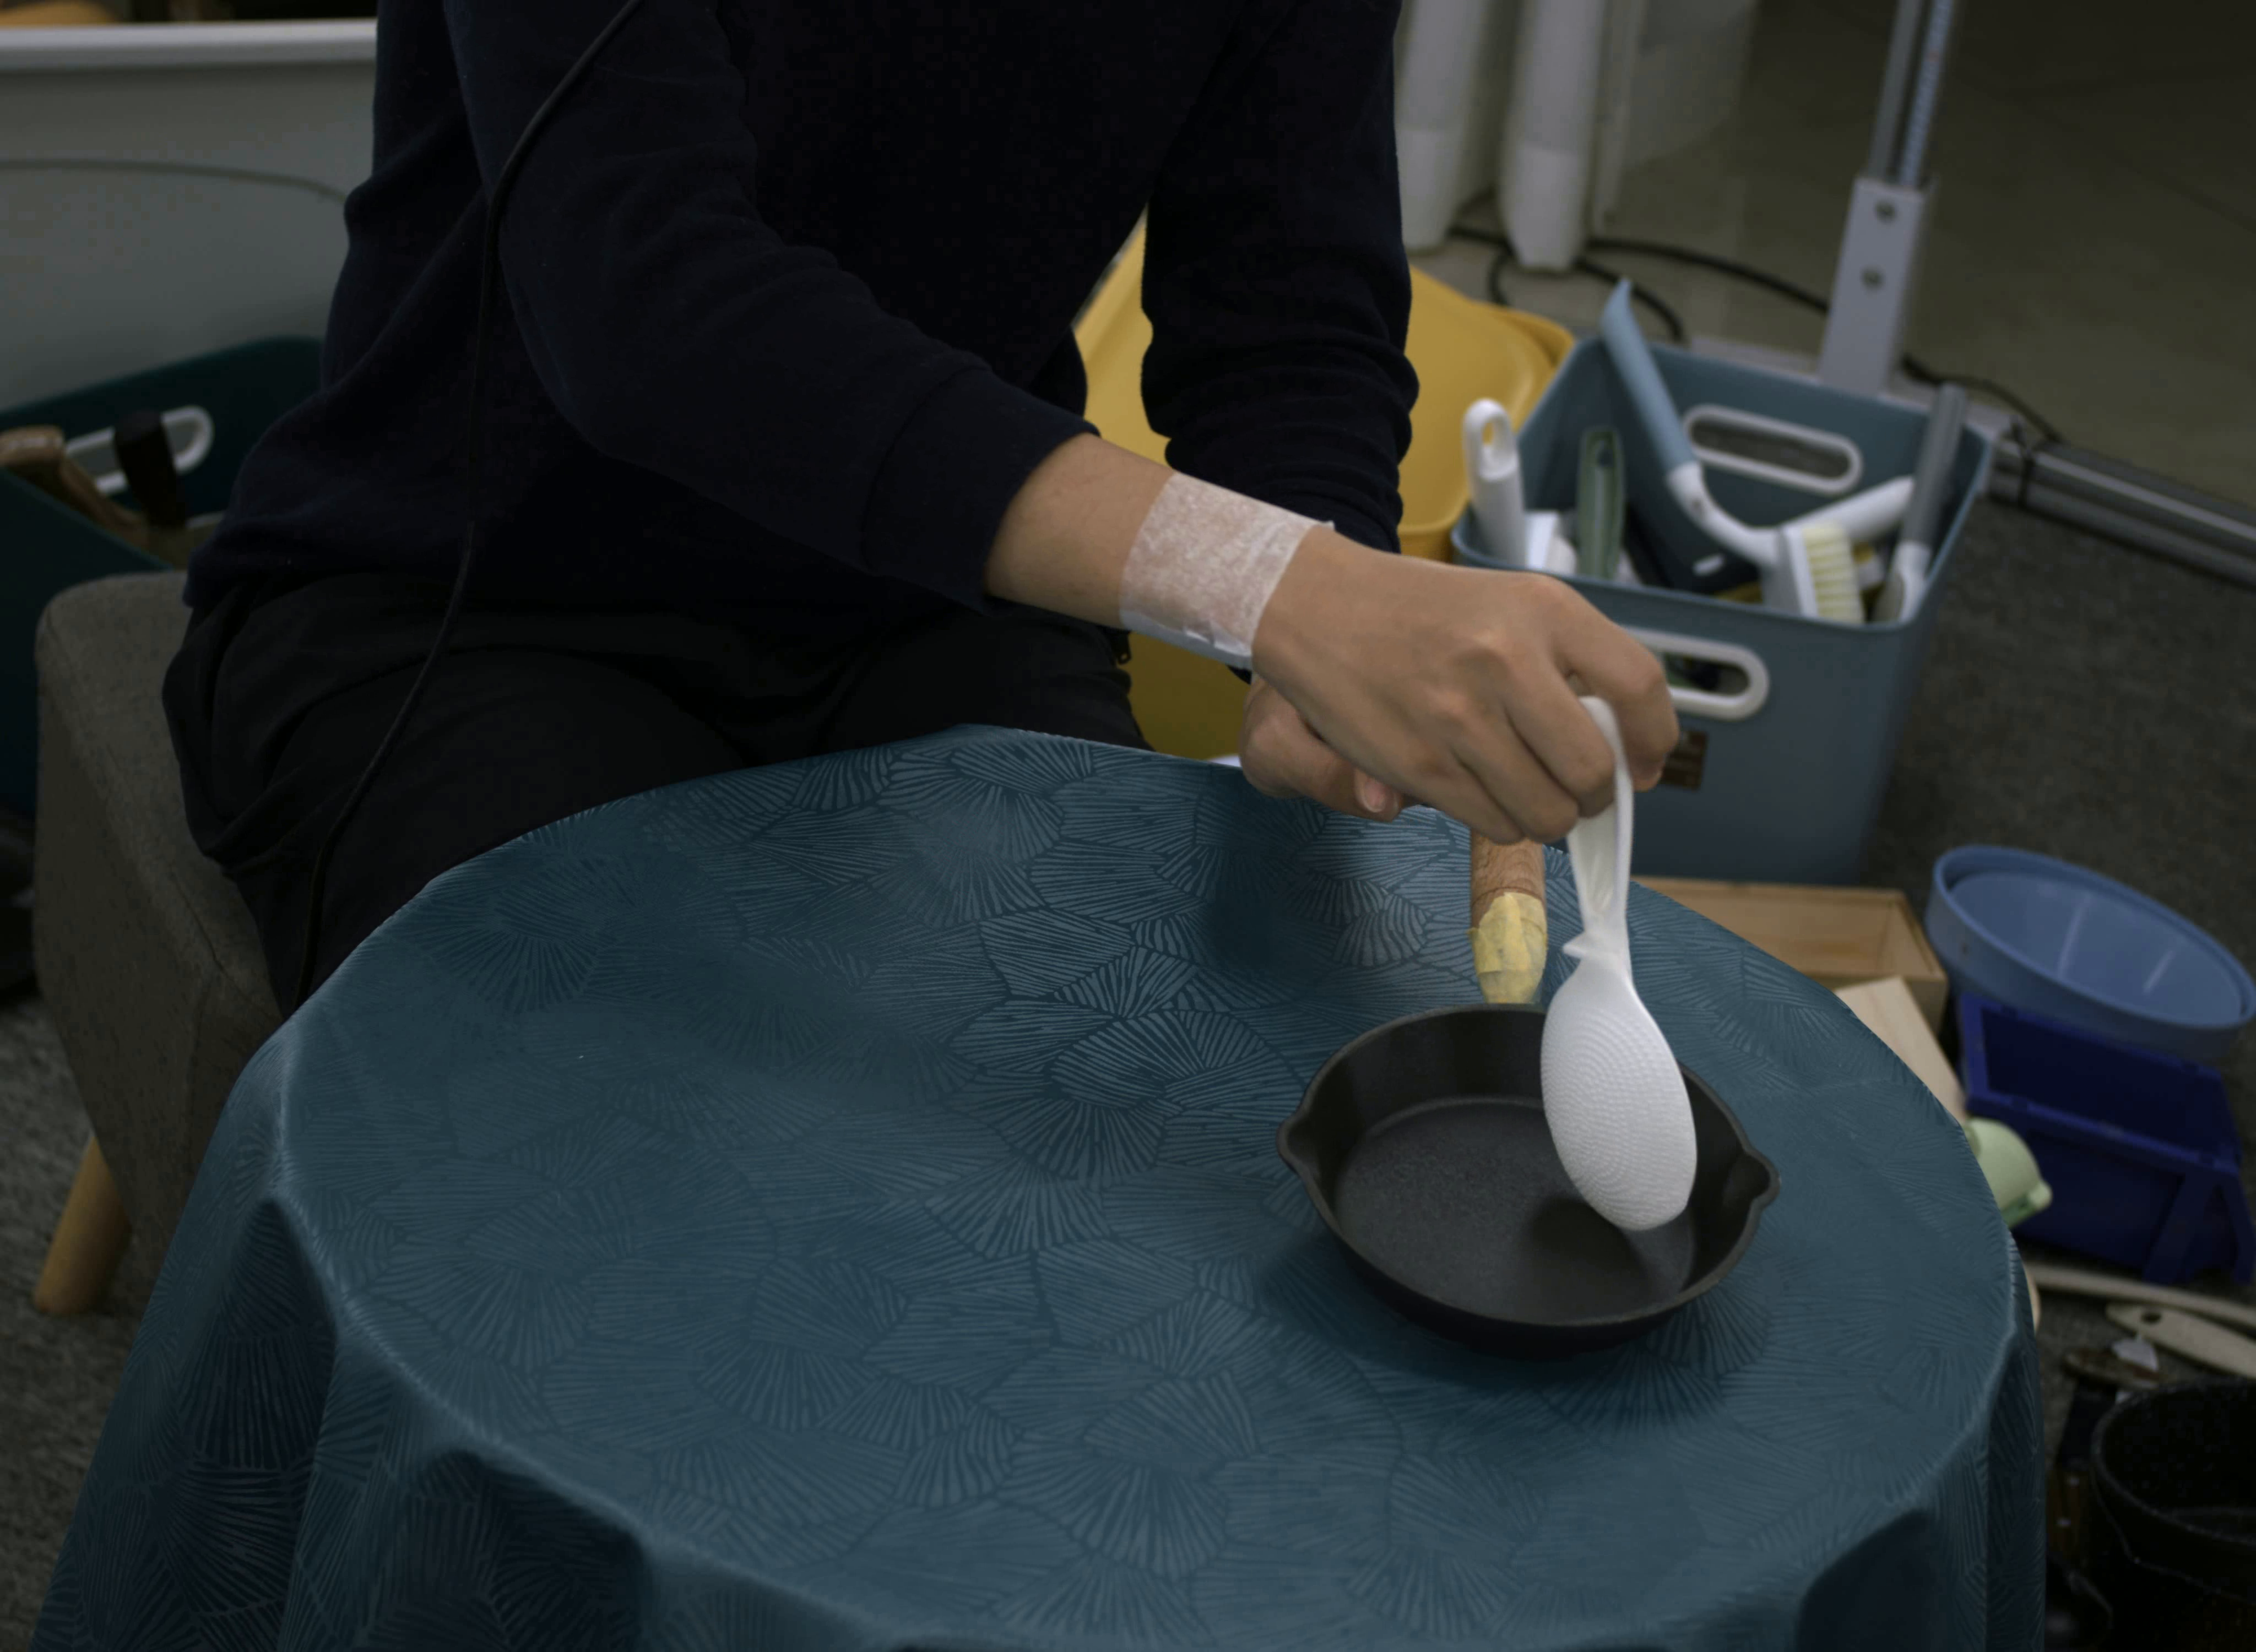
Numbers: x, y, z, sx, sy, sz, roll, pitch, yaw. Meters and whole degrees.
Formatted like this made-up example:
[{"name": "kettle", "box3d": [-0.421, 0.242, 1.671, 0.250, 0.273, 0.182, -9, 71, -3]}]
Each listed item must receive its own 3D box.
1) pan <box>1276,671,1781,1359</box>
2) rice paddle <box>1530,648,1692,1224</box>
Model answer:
[{"name": "pan", "box3d": [0.136, 0.063, 1.835, 0.168, 0.049, 0.326, 5, 40, -1]}, {"name": "rice paddle", "box3d": [0.155, 0.040, 1.743, 0.029, 0.204, 0.069, -26, 31, -35]}]
